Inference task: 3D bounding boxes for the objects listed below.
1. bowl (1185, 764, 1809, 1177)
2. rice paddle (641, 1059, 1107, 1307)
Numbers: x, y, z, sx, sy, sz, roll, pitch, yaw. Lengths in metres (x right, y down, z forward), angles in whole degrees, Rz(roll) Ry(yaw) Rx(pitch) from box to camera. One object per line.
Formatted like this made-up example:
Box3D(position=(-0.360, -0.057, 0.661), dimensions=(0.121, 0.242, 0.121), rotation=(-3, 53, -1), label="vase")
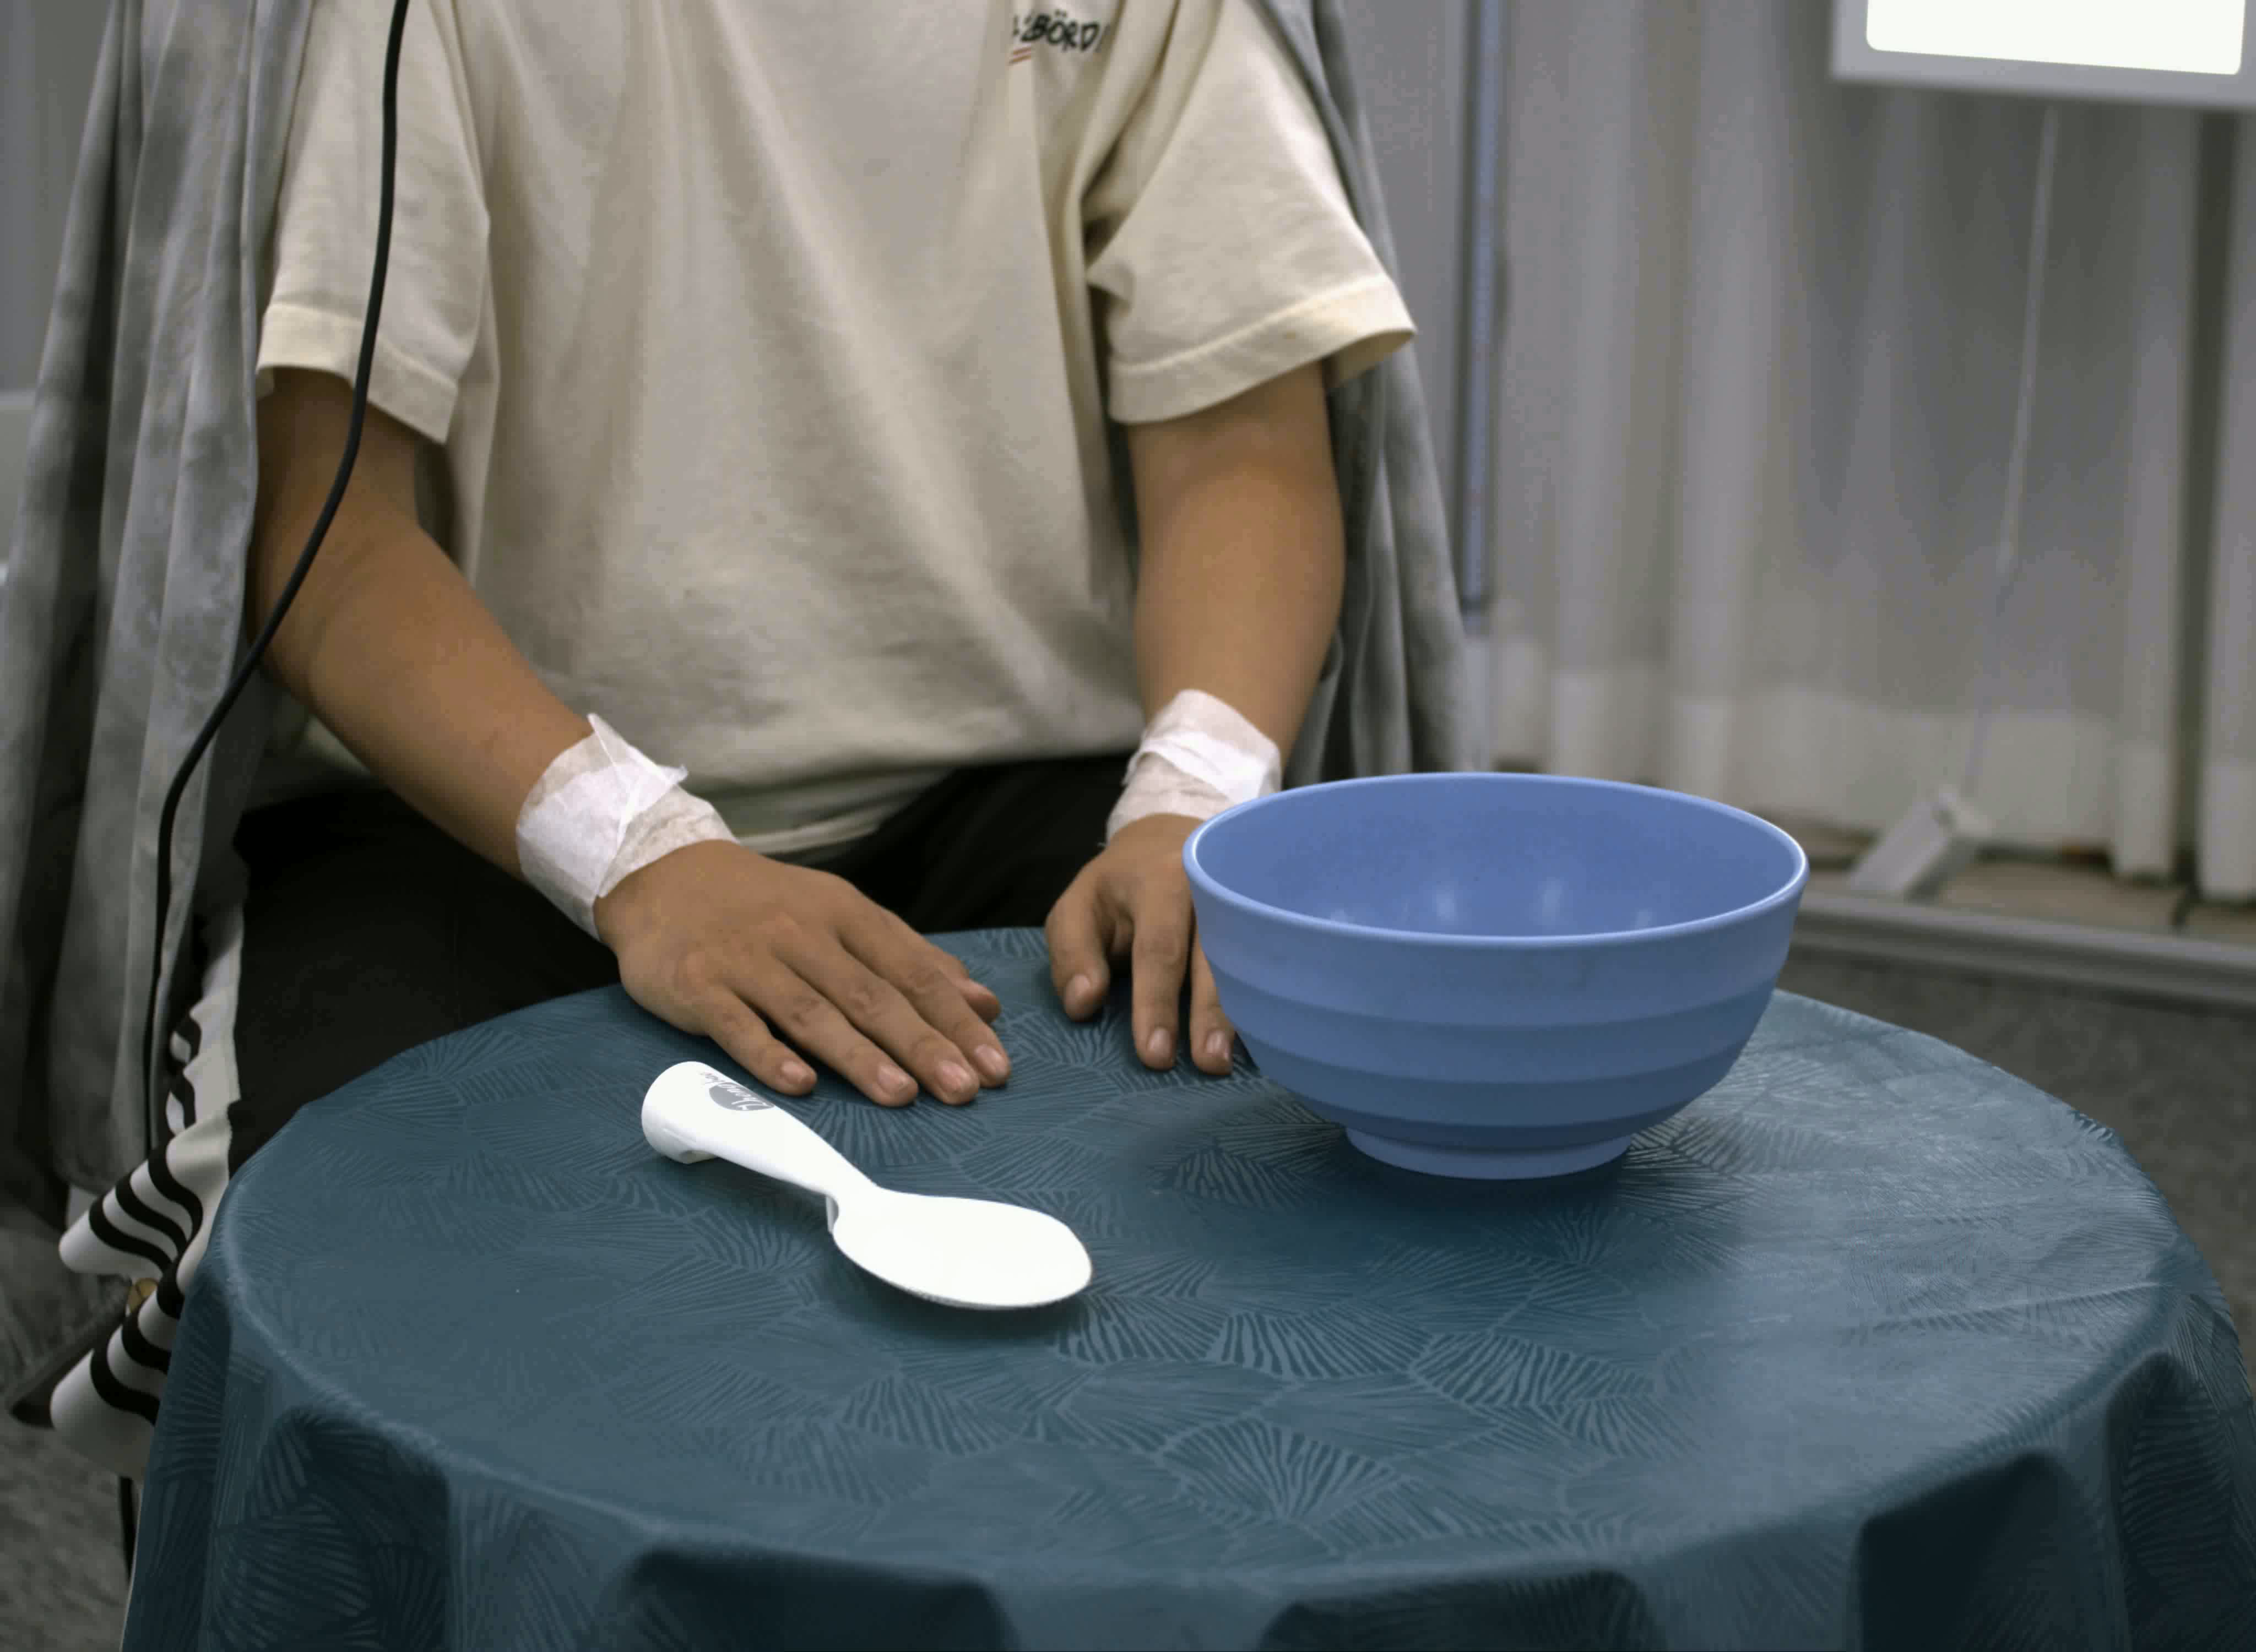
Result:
Box3D(position=(0.115, 0.051, 1.669), dimensions=(0.196, 0.096, 0.195), rotation=(1, 17, 0), label="bowl")
Box3D(position=(-0.079, 0.109, 1.578), dimensions=(0.069, 0.029, 0.202), rotation=(-13, 20, -35), label="rice paddle")
